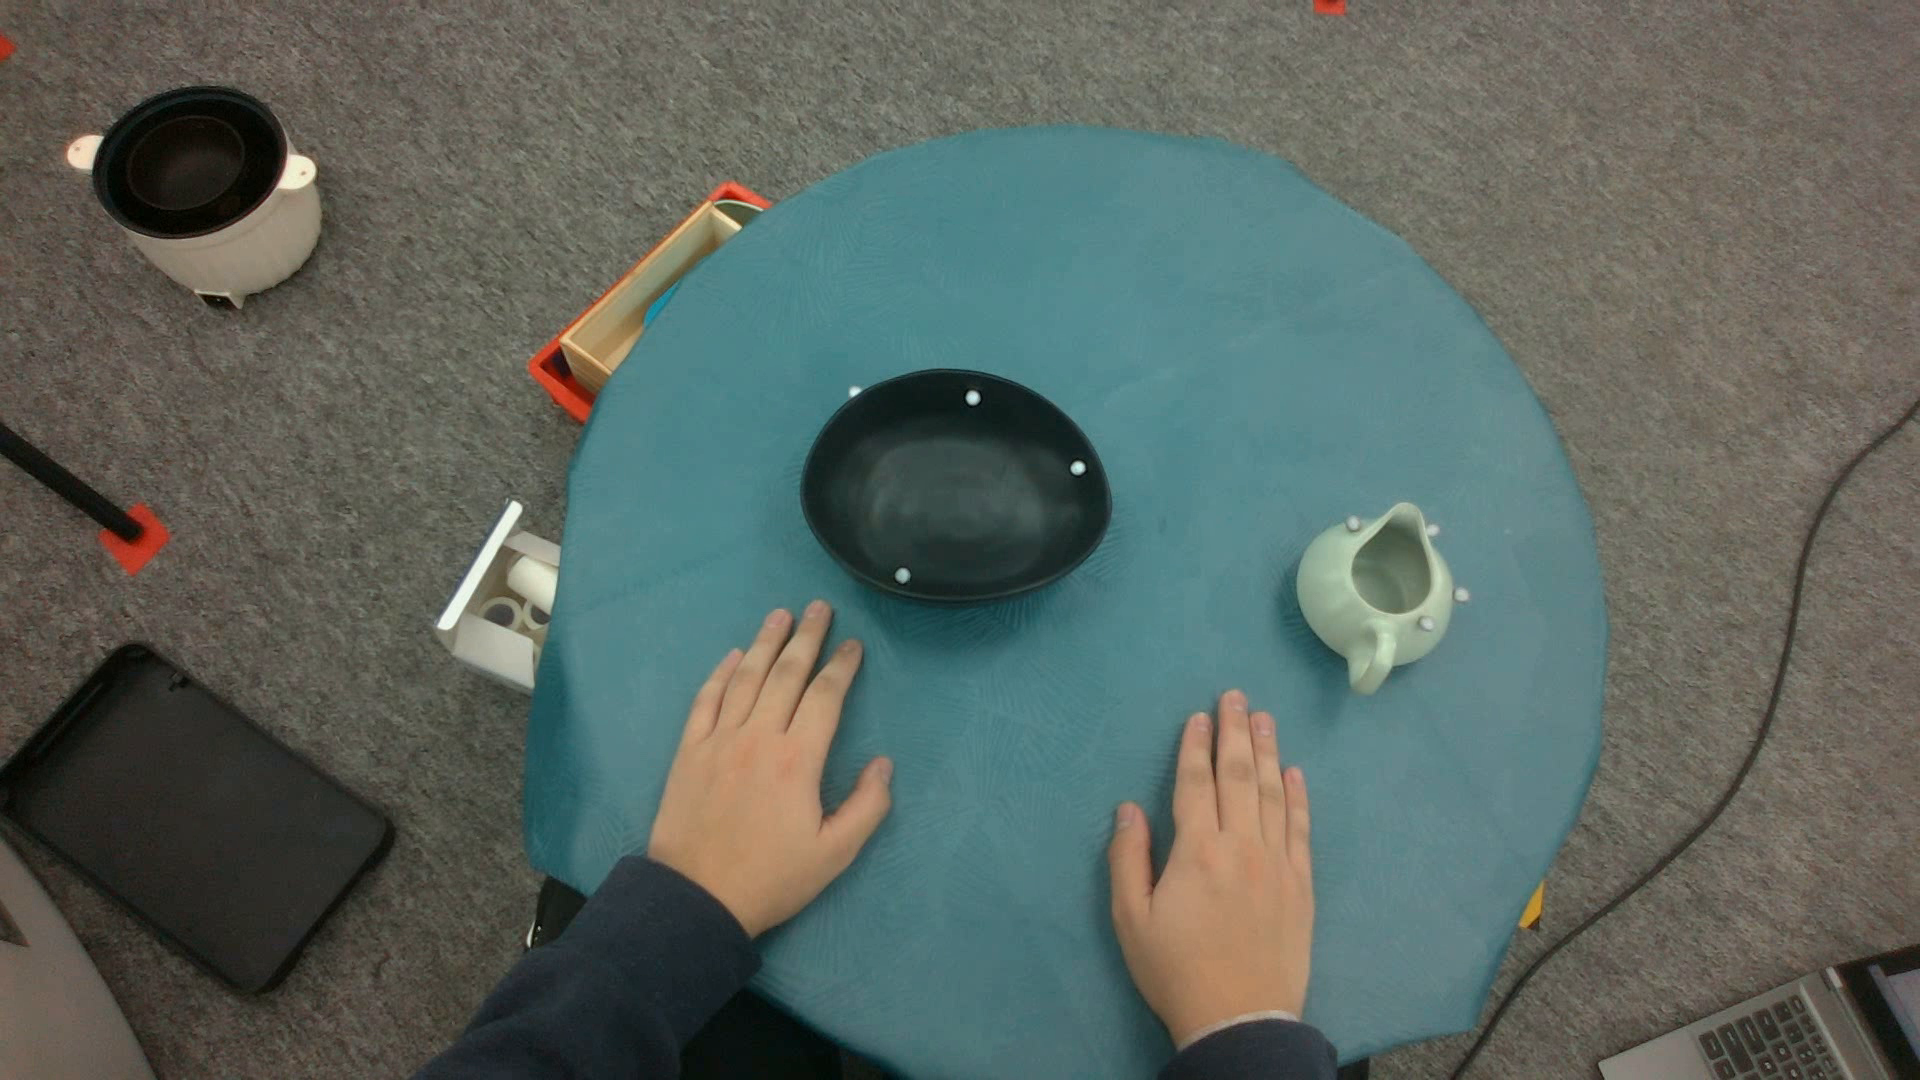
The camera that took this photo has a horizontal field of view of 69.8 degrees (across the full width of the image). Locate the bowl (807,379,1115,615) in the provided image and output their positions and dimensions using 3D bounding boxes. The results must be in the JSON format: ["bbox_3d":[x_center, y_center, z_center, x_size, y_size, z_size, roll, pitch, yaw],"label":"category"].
[{"bbox_3d":[0.001,-0.017,0.776,0.170,0.066,0.138,2,68,-3],"label":"bowl"}]

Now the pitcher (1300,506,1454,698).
[{"bbox_3d":[0.234,0.039,0.769,0.086,0.060,0.108,14,69,4],"label":"pitcher"}]
